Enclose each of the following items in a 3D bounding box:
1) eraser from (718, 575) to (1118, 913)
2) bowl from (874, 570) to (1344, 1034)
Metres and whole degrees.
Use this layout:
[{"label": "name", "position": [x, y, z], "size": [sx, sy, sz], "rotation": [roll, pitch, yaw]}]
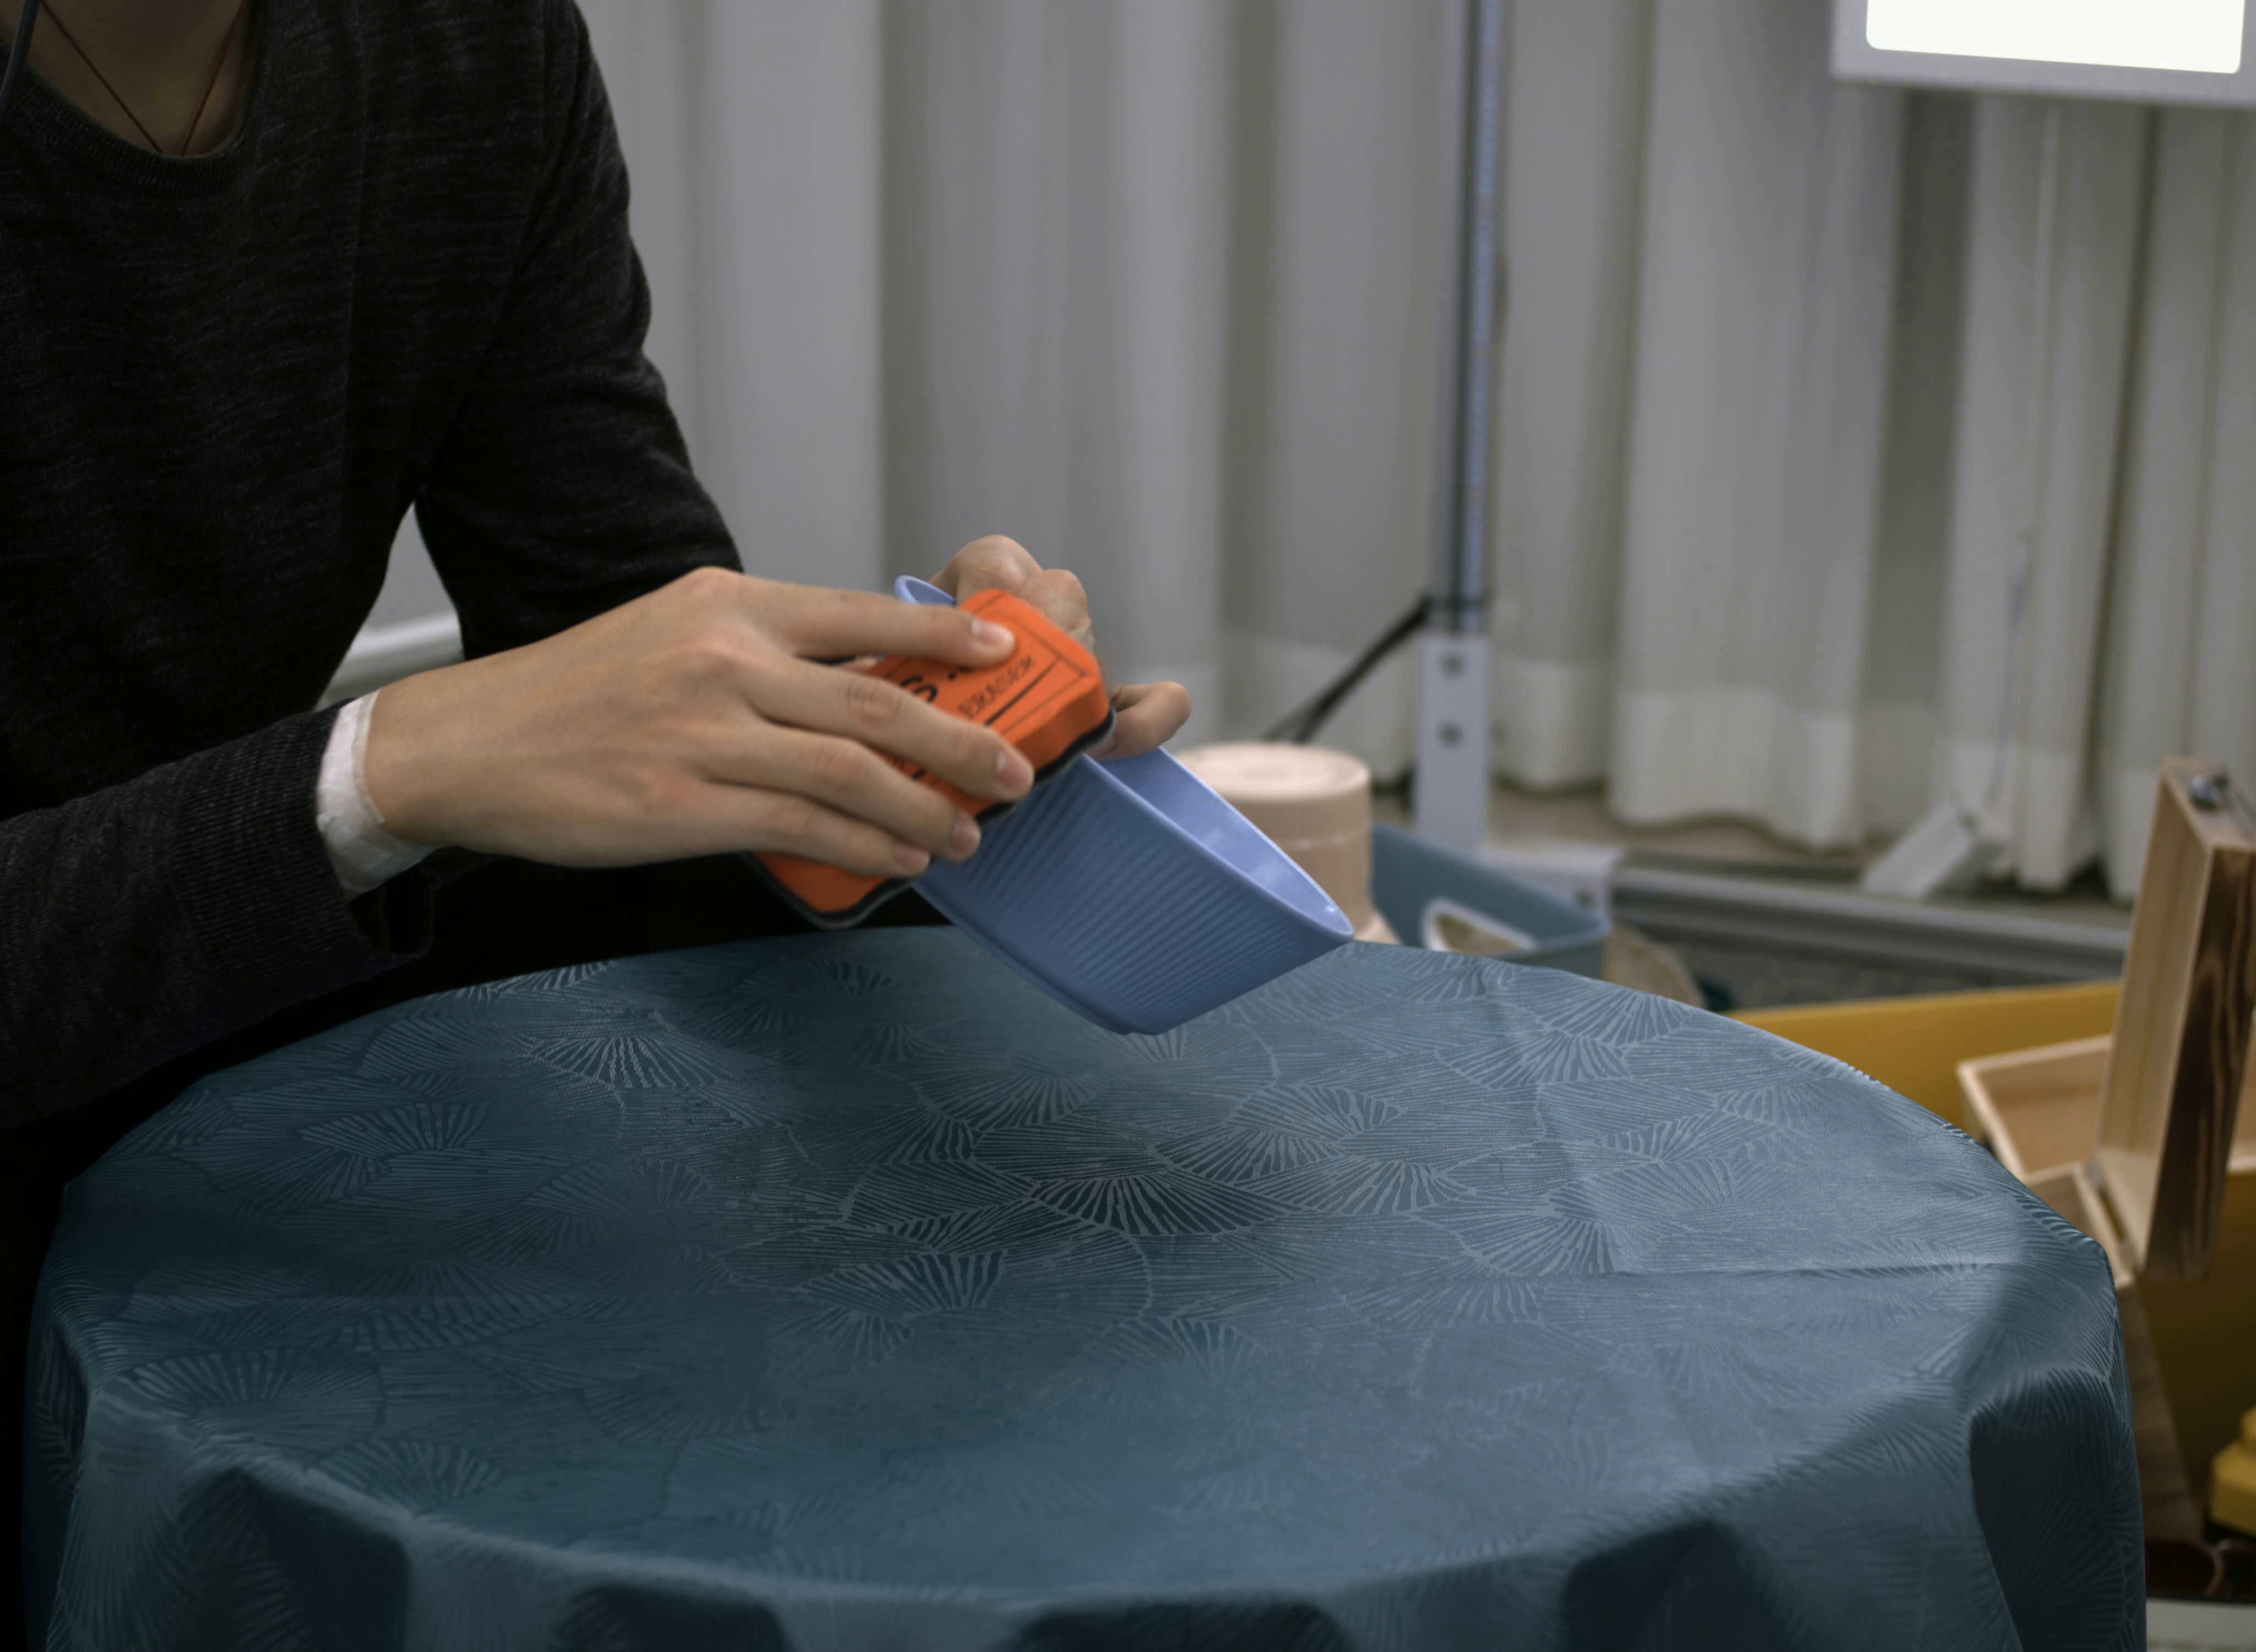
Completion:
[{"label": "eraser", "position": [-0.059, -0.024, 1.487], "size": [0.108, 0.023, 0.058], "rotation": [-37, 52, -17]}, {"label": "bowl", "position": [-0.021, 0.003, 1.598], "size": [0.176, 0.070, 0.175], "rotation": [39, 6, -4]}]
